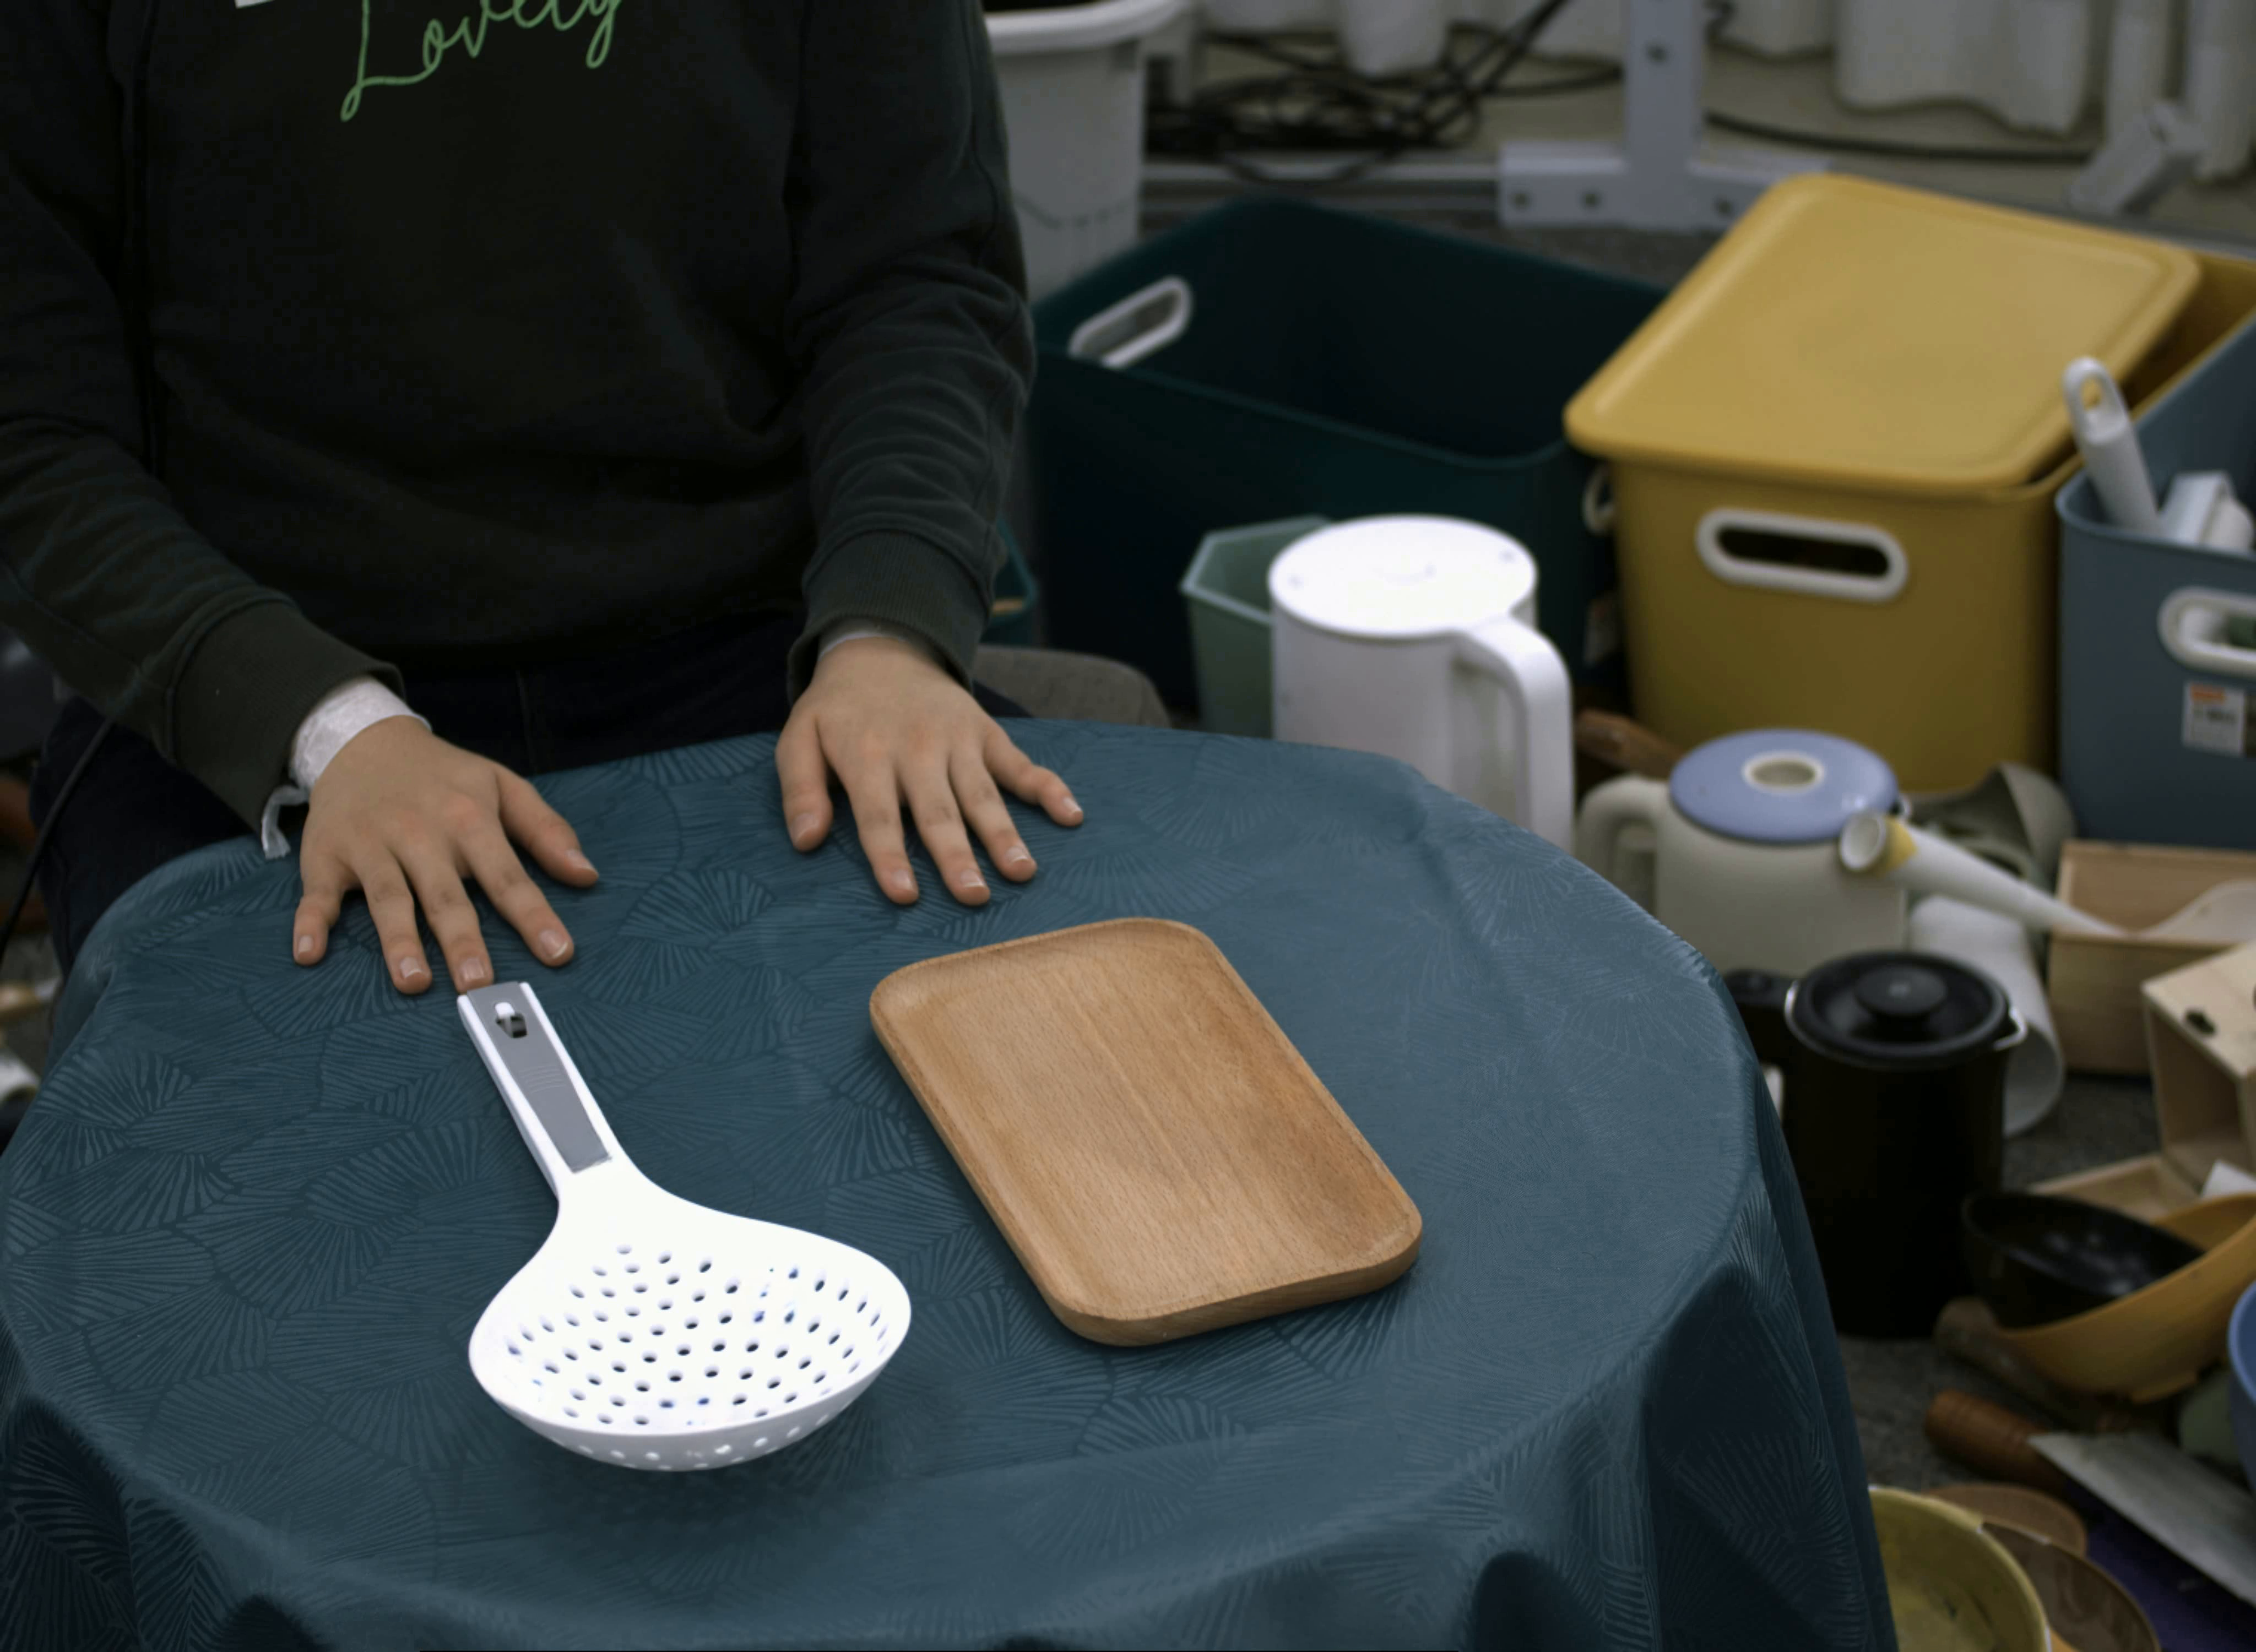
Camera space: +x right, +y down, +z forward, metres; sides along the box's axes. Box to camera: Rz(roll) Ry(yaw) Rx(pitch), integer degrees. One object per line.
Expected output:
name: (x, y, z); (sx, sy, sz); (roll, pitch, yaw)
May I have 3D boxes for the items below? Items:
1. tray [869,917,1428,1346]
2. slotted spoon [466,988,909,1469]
tray: (0.003, 0.100, 1.885); (0.131, 0.022, 0.253); (-10, 27, -16)
slotted spoon: (-0.168, 0.124, 1.824); (0.136, 0.045, 0.353); (-9, 27, -16)
